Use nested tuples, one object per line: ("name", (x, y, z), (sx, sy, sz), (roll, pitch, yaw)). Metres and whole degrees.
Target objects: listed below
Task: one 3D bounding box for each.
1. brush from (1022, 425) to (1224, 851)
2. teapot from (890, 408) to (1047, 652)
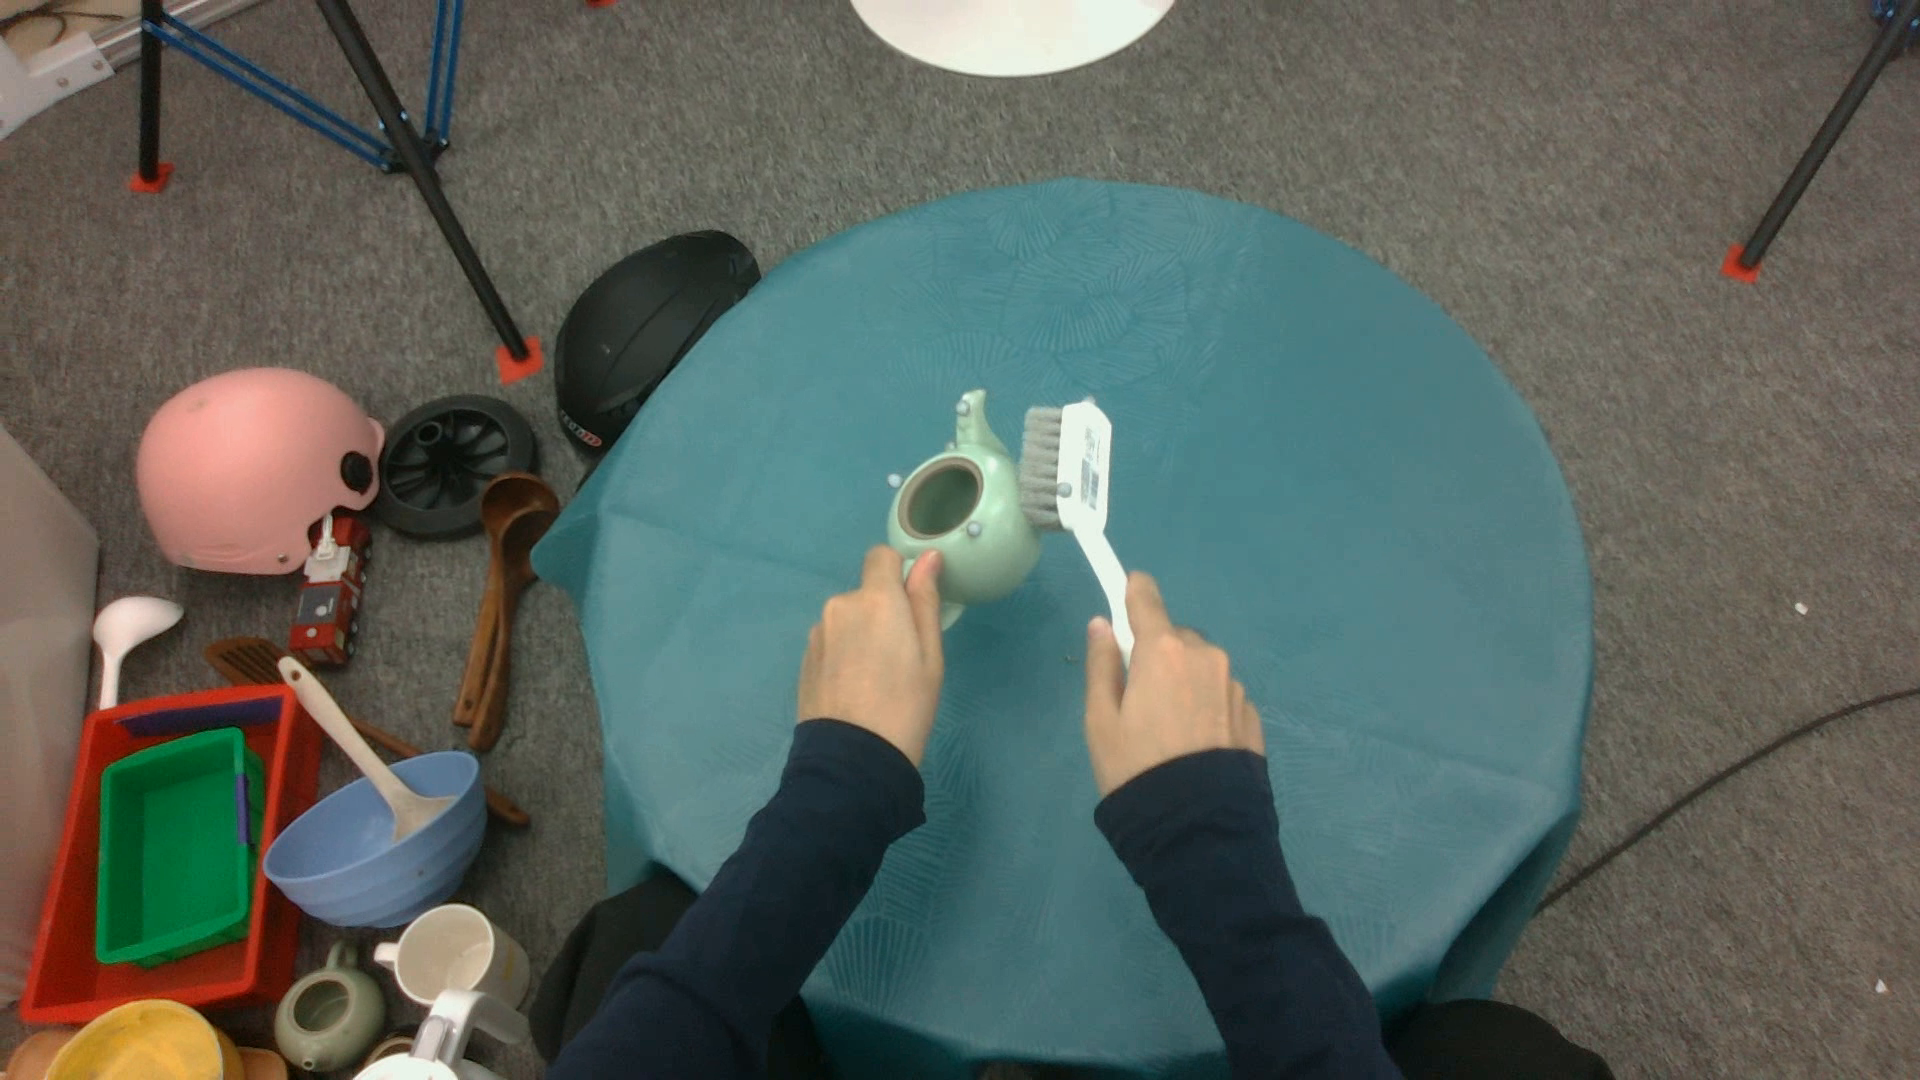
("brush", (0.075, 0.045, 0.695), (0.050, 0.034, 0.244), (-27, 59, 24))
("teapot", (0.004, 0.002, 0.765), (0.088, 0.074, 0.144), (2, 58, 35))
